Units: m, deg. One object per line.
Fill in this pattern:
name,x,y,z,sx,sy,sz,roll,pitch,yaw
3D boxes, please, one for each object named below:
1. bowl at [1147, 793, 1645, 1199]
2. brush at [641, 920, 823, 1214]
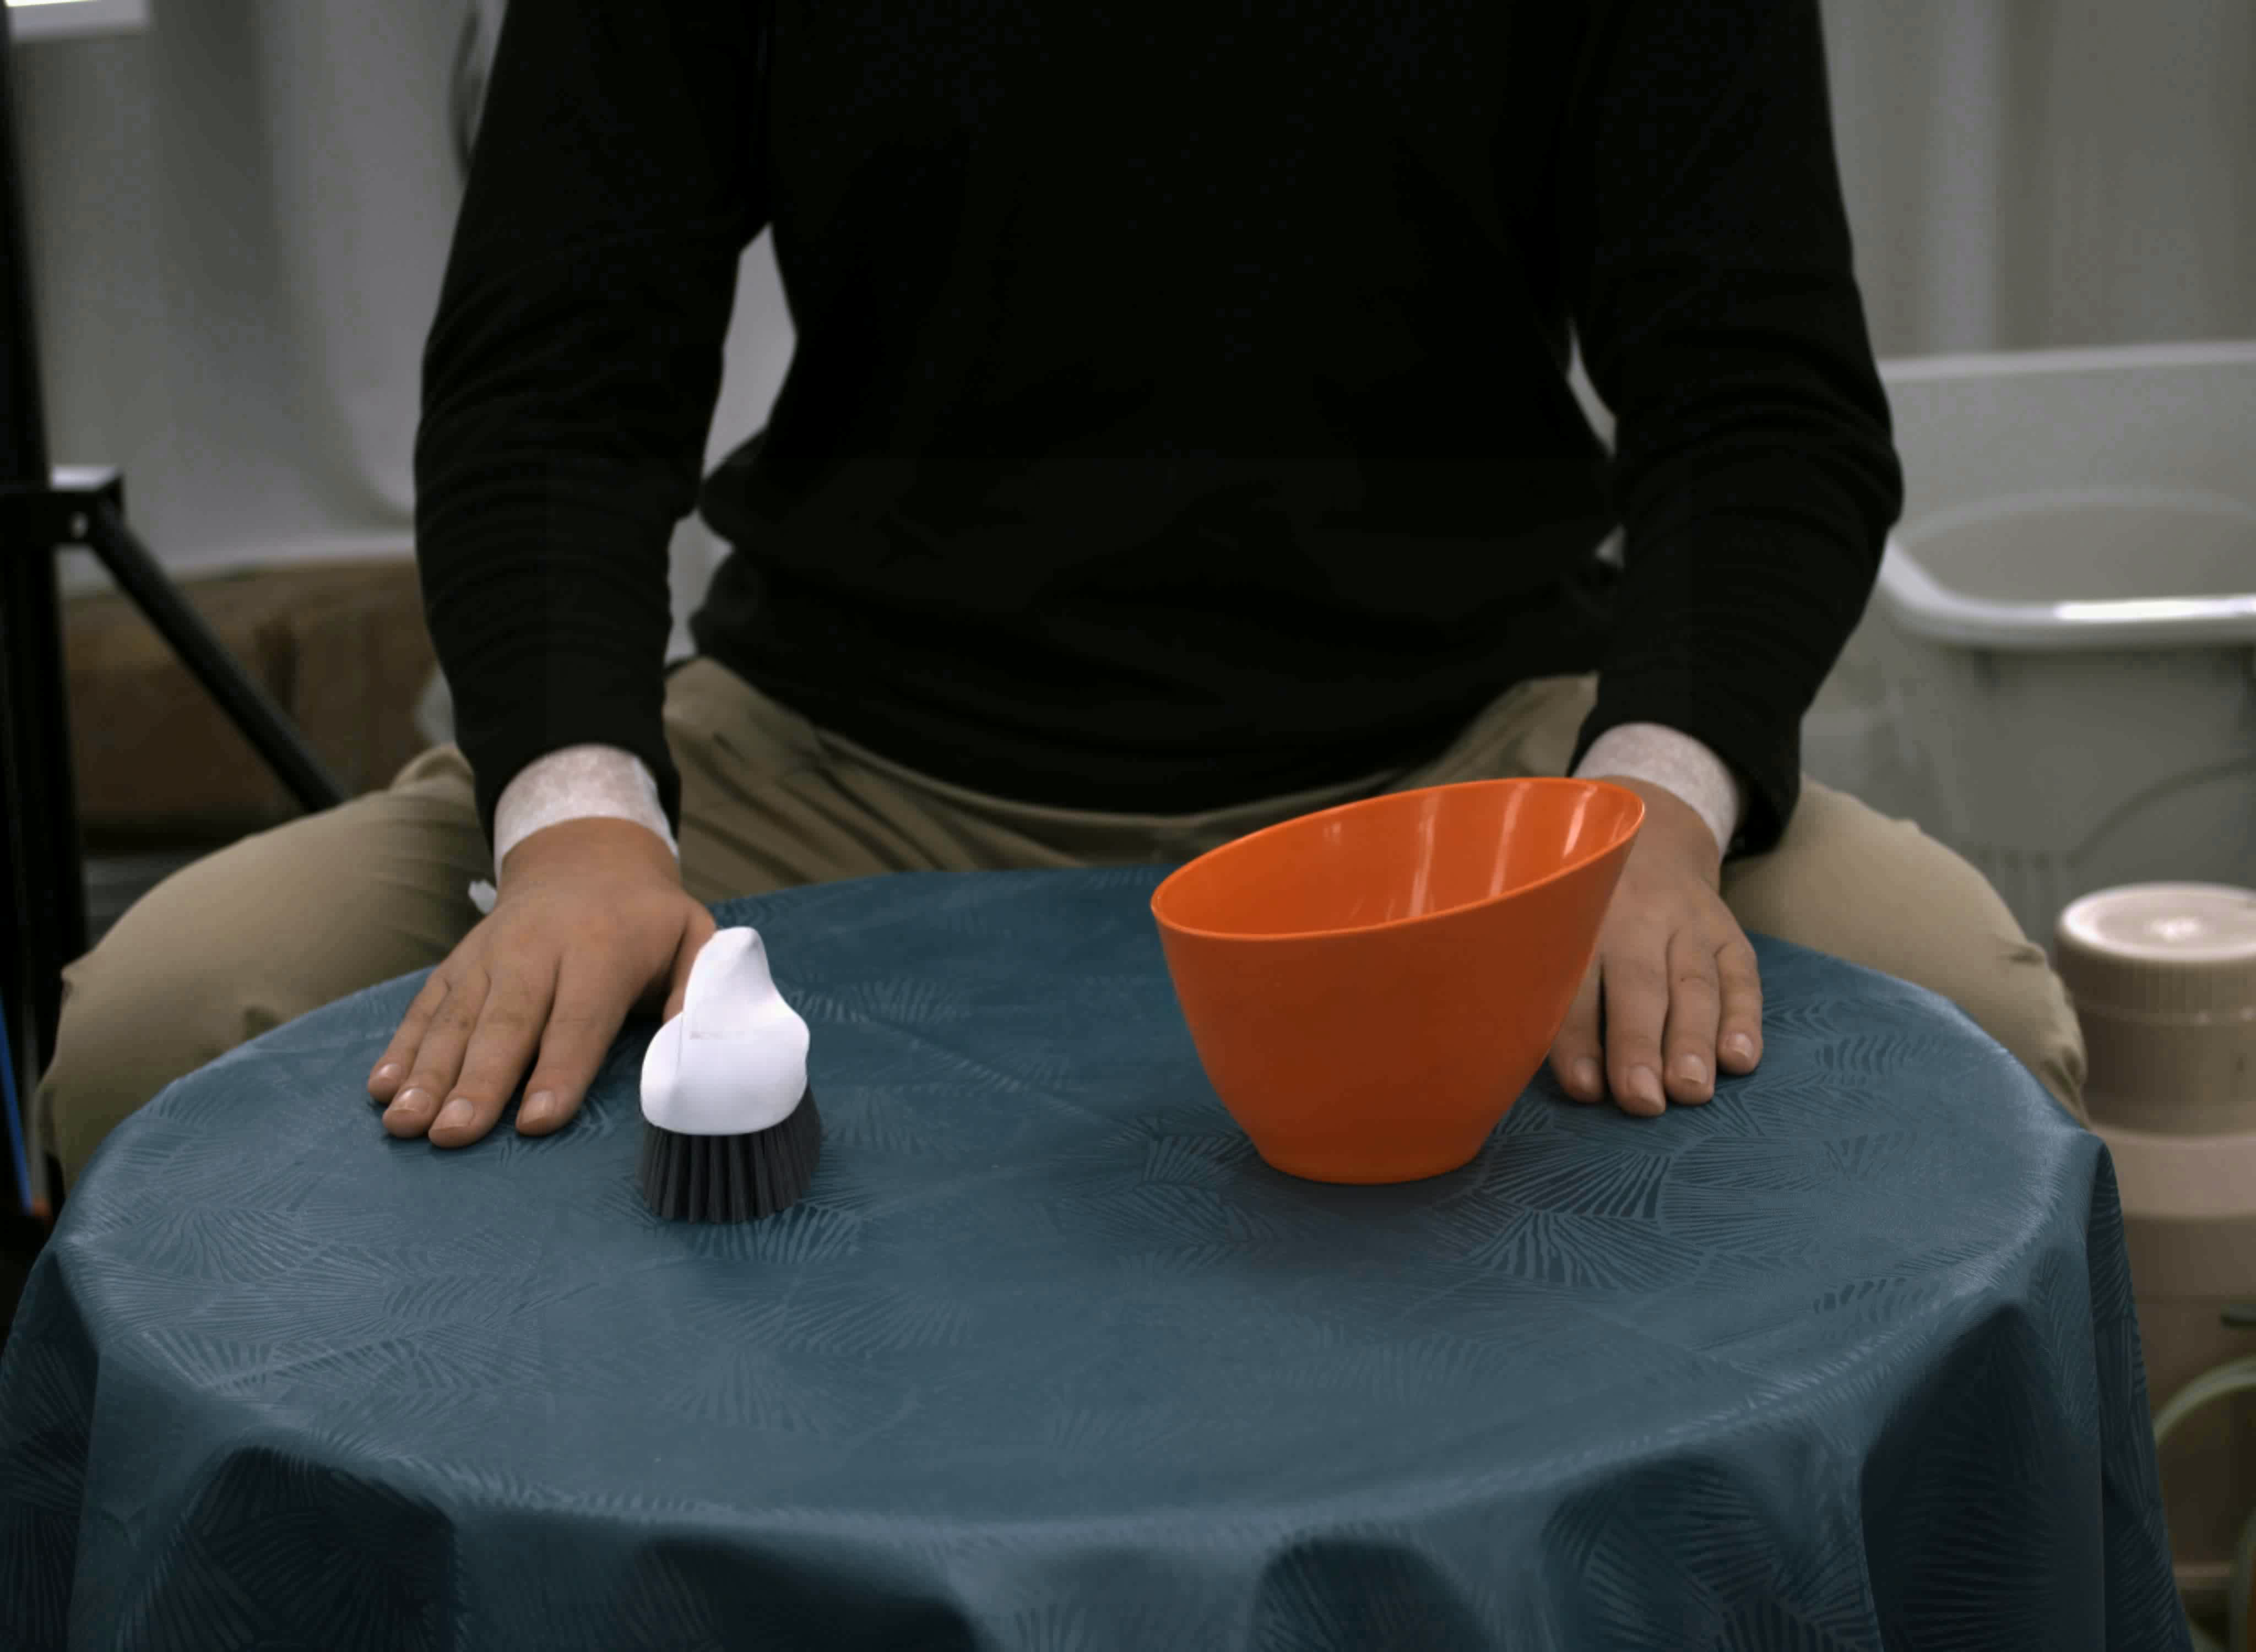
bowl,0.080,0.051,1.567,0.147,0.104,0.149,-3,14,-1
brush,-0.119,0.067,1.587,0.050,0.072,0.099,-2,16,5
